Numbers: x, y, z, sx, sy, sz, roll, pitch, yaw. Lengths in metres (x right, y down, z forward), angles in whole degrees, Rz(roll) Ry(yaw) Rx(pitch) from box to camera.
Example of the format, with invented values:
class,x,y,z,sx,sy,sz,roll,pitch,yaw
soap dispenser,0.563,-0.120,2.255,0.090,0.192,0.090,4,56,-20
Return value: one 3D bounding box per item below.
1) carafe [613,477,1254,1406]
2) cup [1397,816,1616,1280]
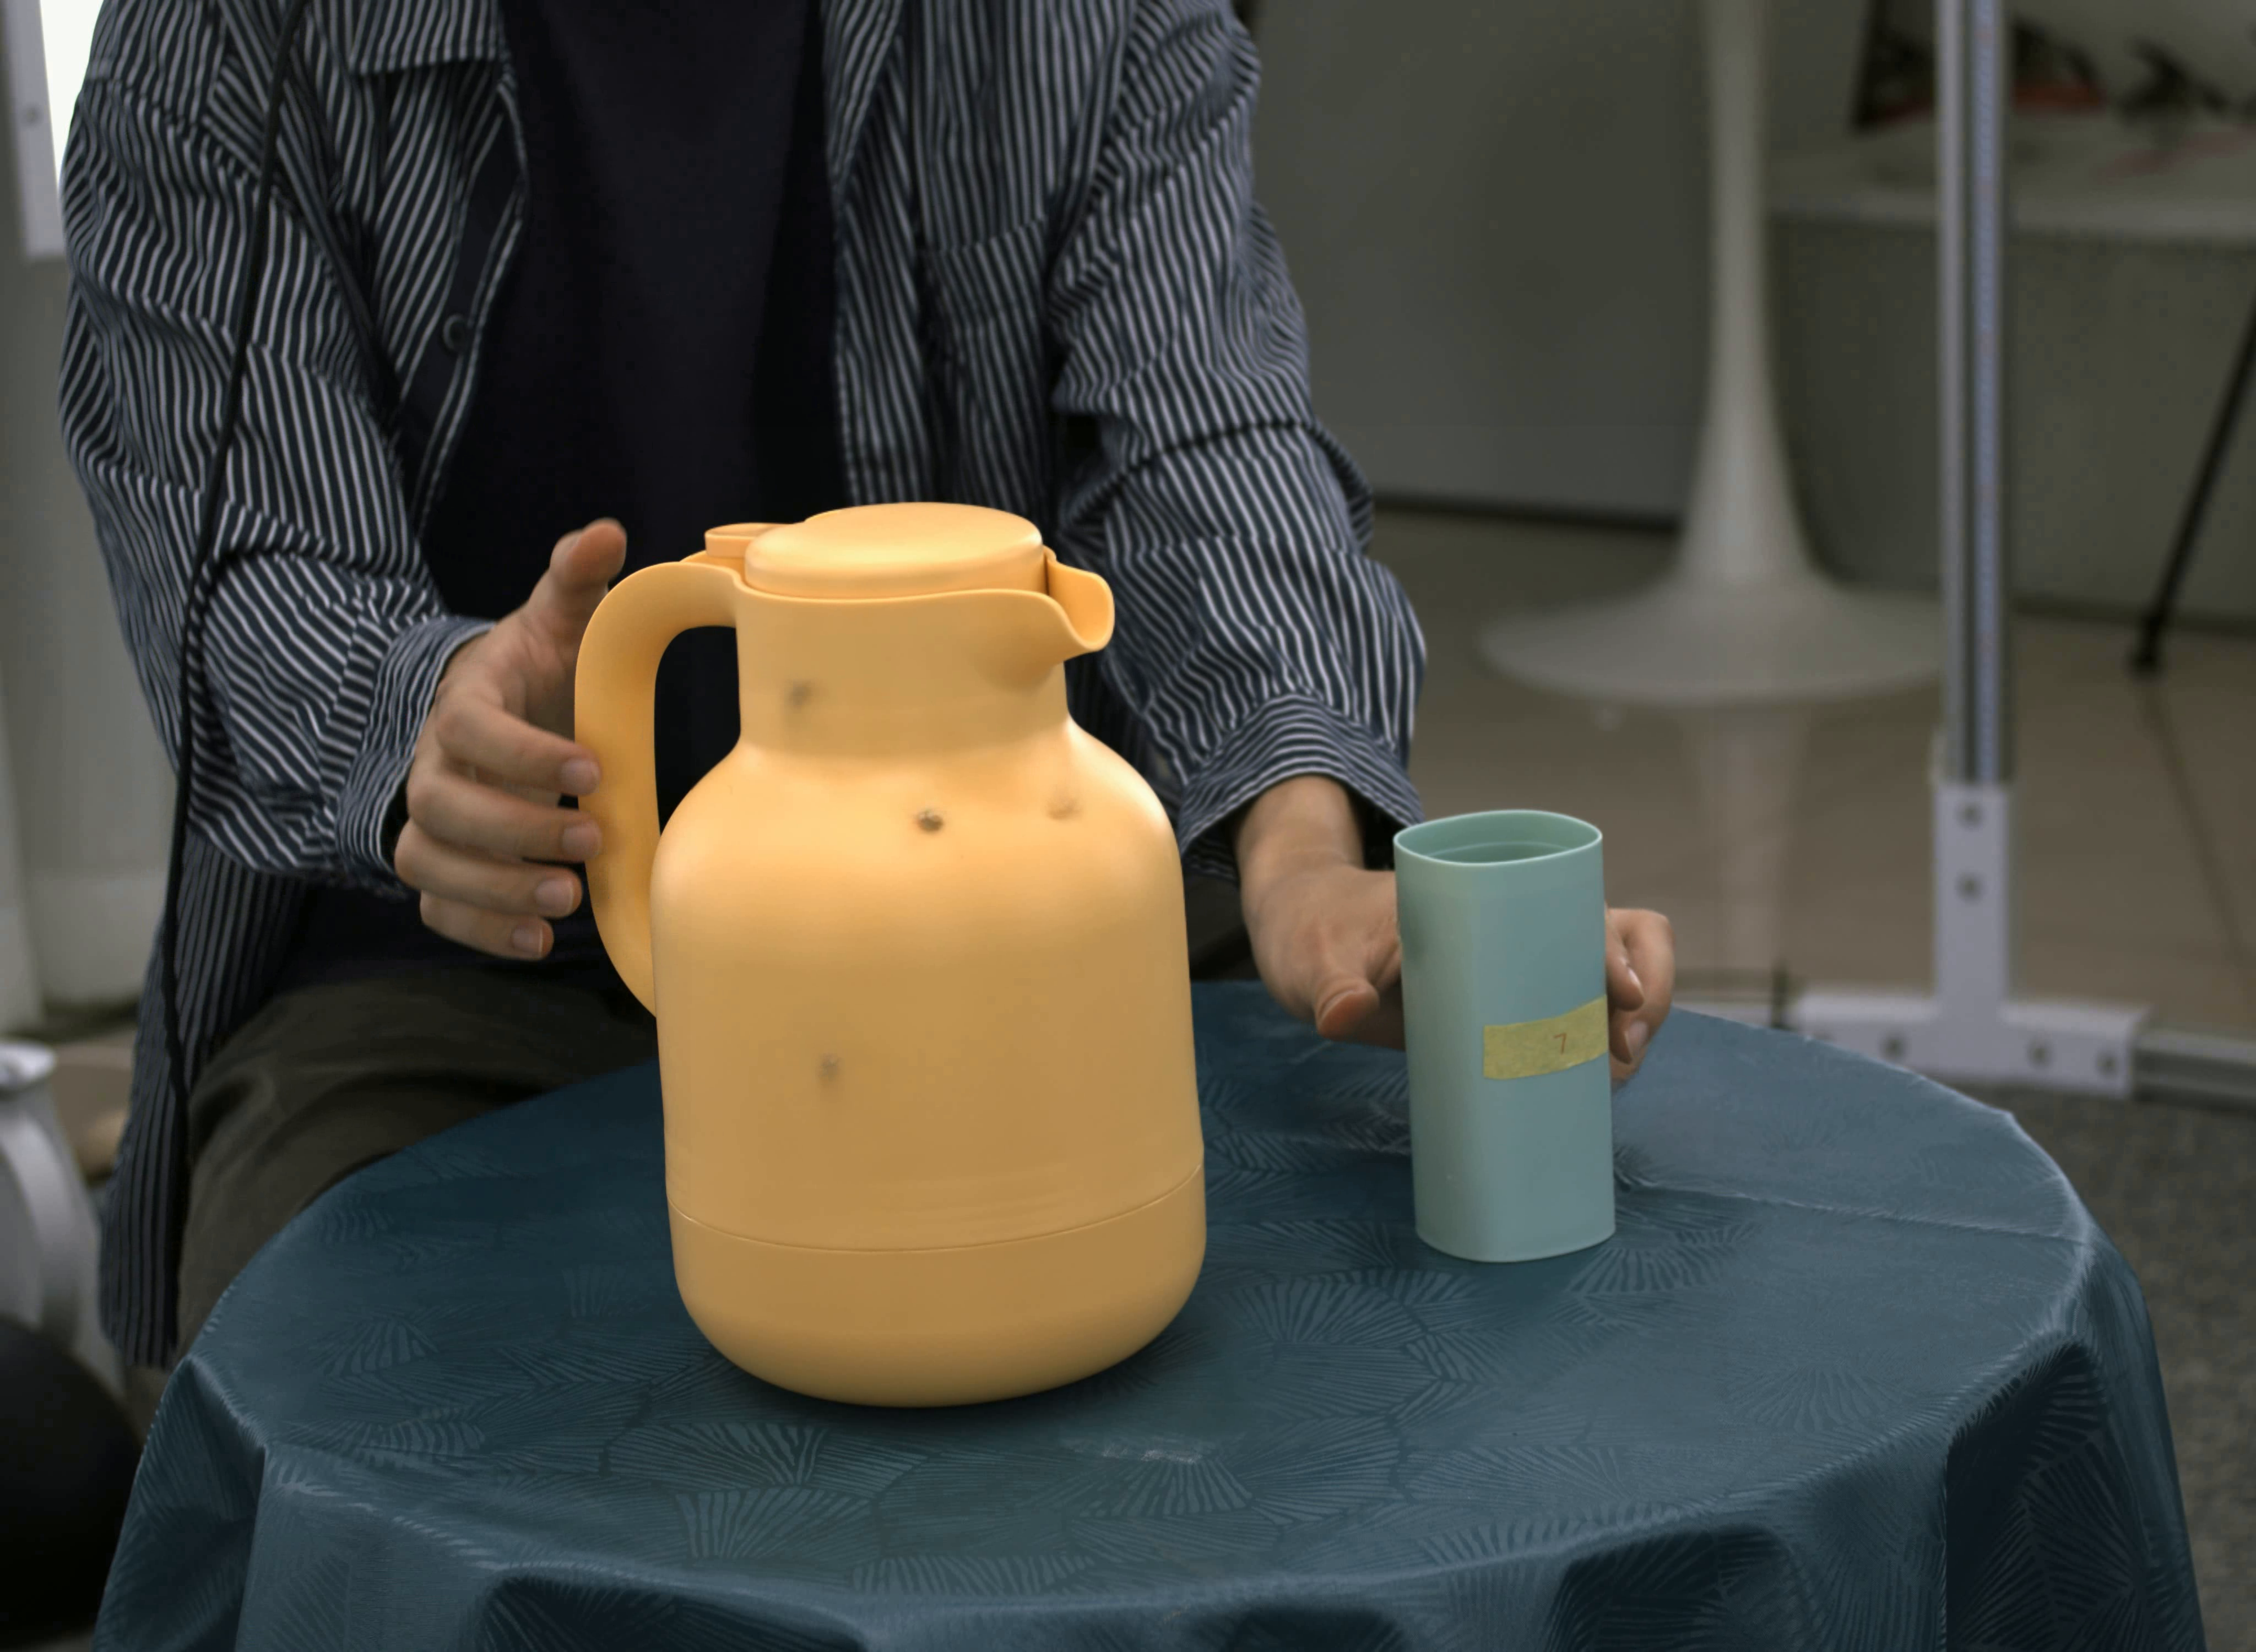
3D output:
class,x,y,z,sx,sy,sz,roll,pitch,yaw
carafe,-0.063,0.028,1.615,0.203,0.263,0.160,6,15,34
cup,0.119,0.068,1.687,0.066,0.134,0.067,-4,14,0
